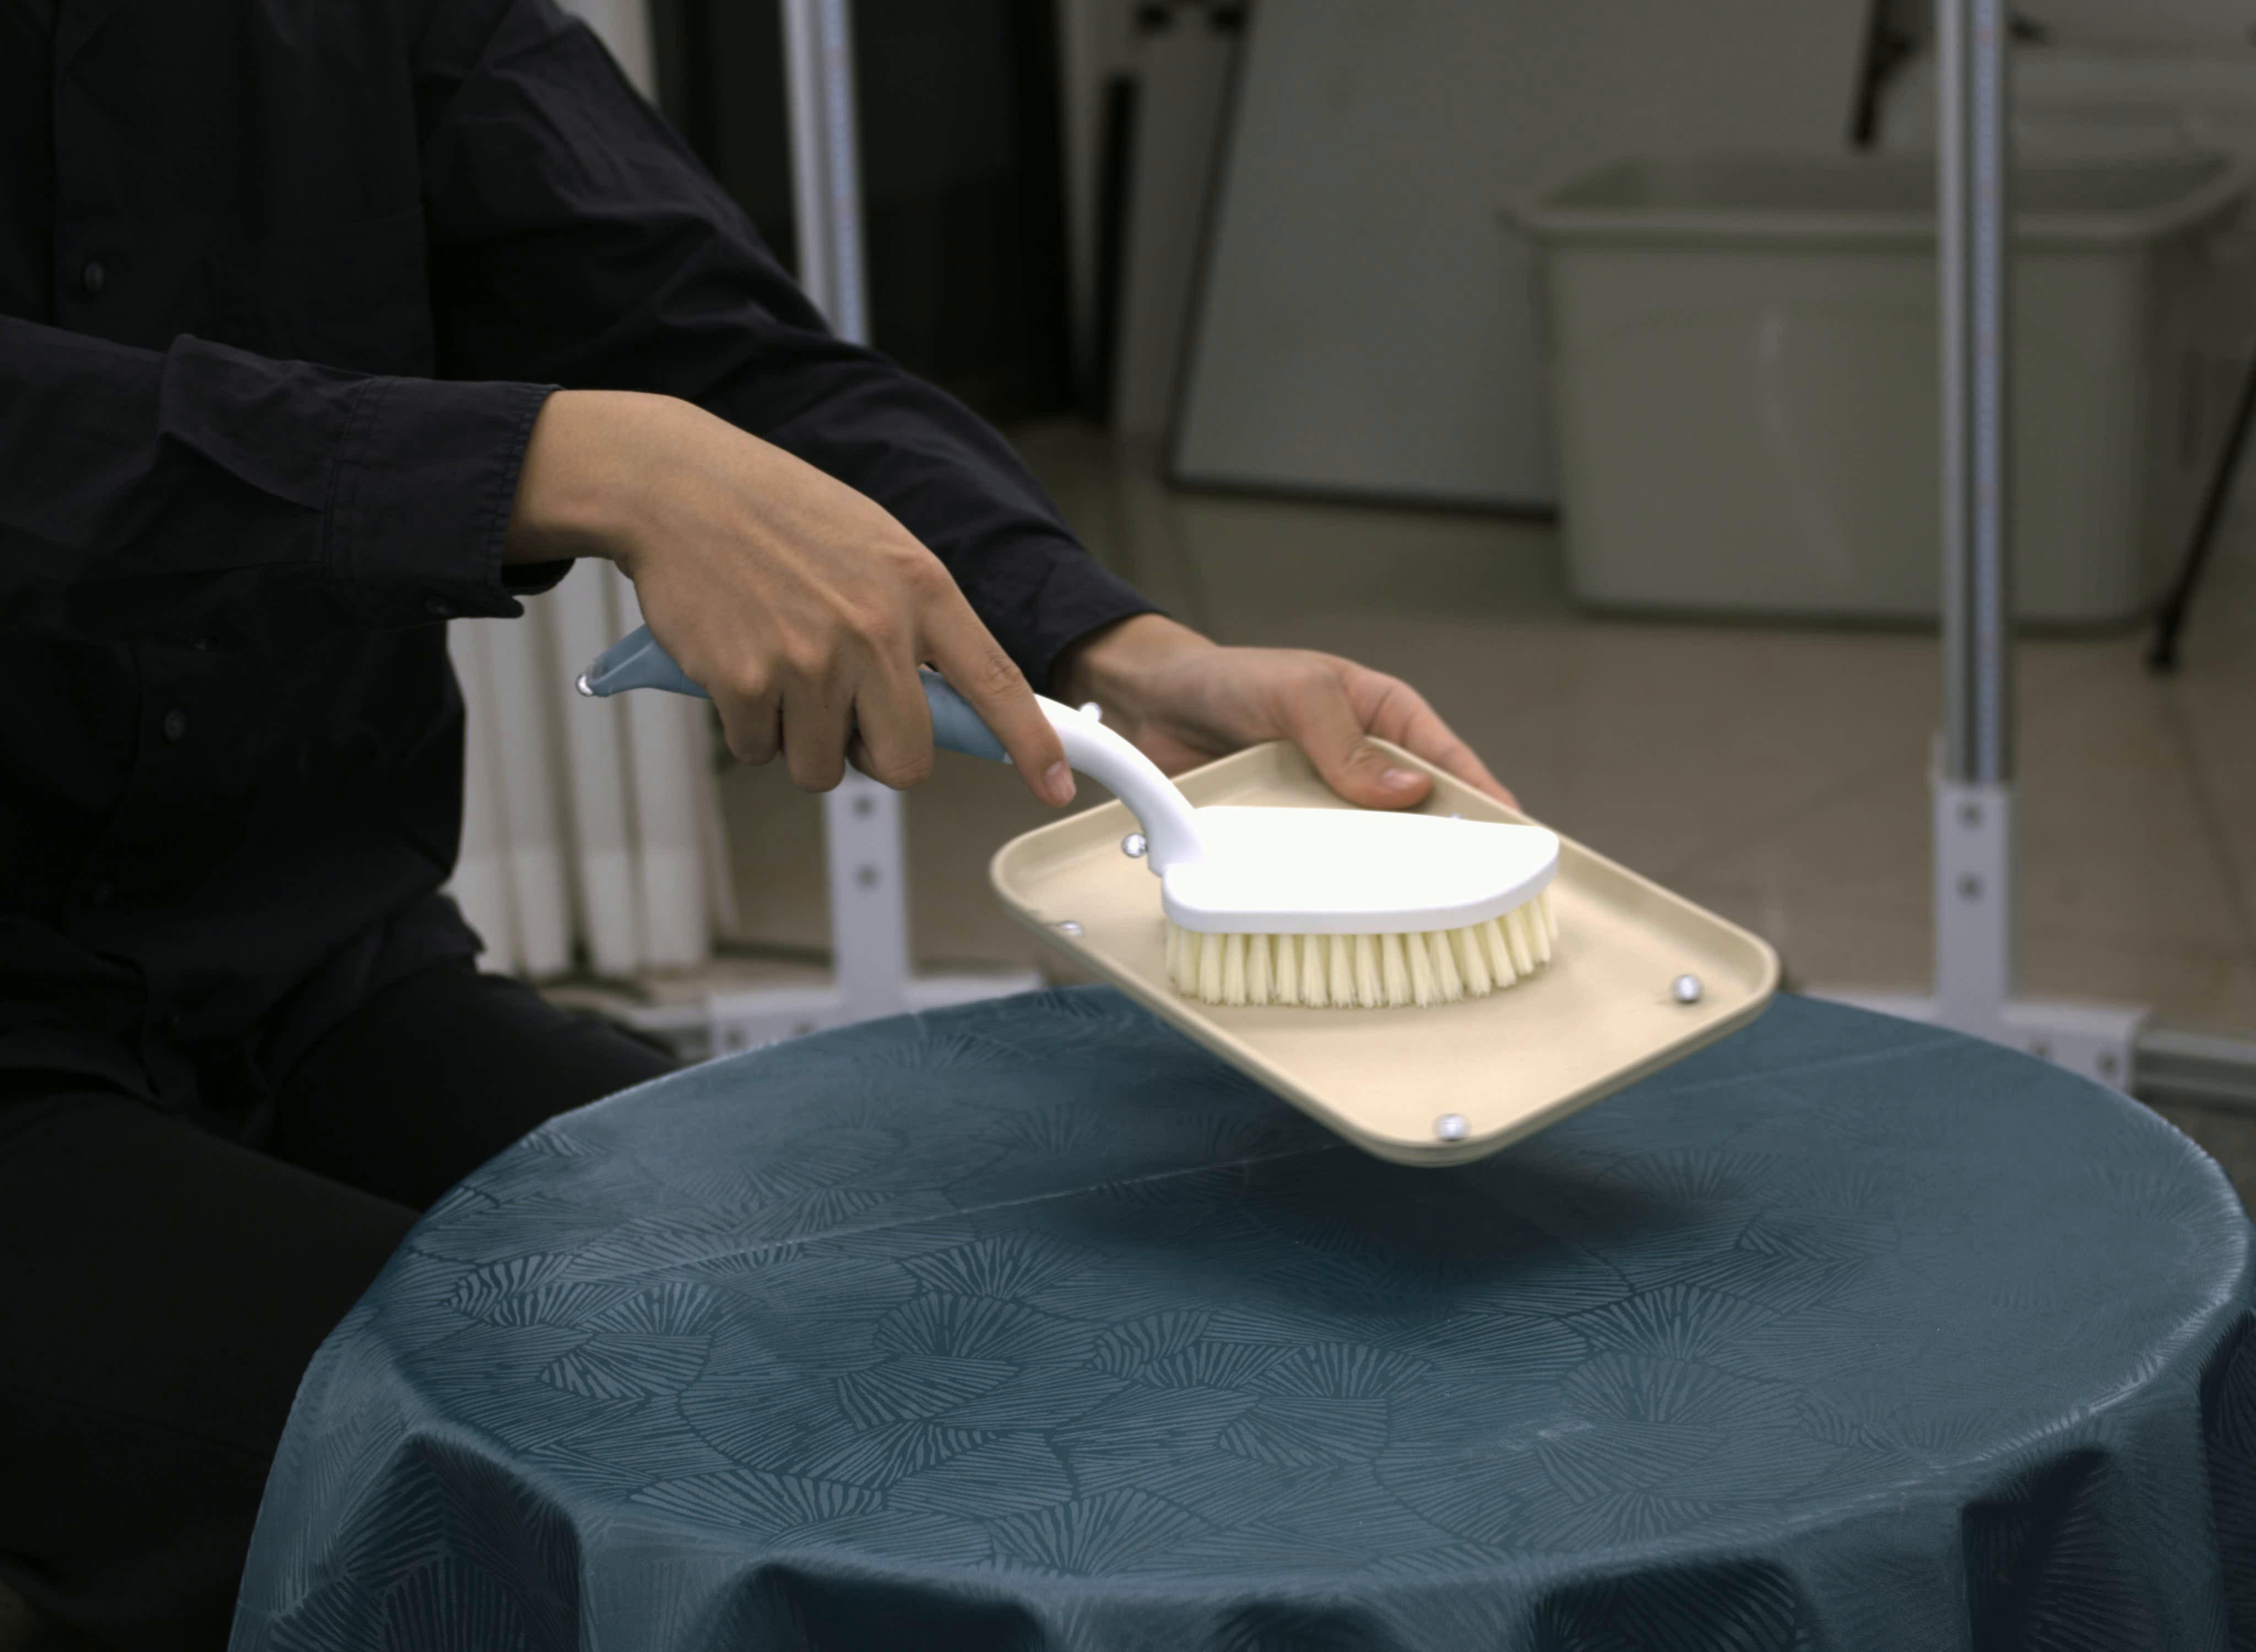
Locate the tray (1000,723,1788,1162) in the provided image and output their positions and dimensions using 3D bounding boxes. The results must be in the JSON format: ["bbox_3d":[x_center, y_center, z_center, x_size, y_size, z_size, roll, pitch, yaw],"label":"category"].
[{"bbox_3d":[0.084,0.036,1.748,0.168,0.017,0.242,-22,35,-32],"label":"tray"}]

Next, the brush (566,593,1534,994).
[{"bbox_3d":[-0.027,0.000,1.742,0.321,0.085,0.083,12,-8,-2],"label":"brush"}]
